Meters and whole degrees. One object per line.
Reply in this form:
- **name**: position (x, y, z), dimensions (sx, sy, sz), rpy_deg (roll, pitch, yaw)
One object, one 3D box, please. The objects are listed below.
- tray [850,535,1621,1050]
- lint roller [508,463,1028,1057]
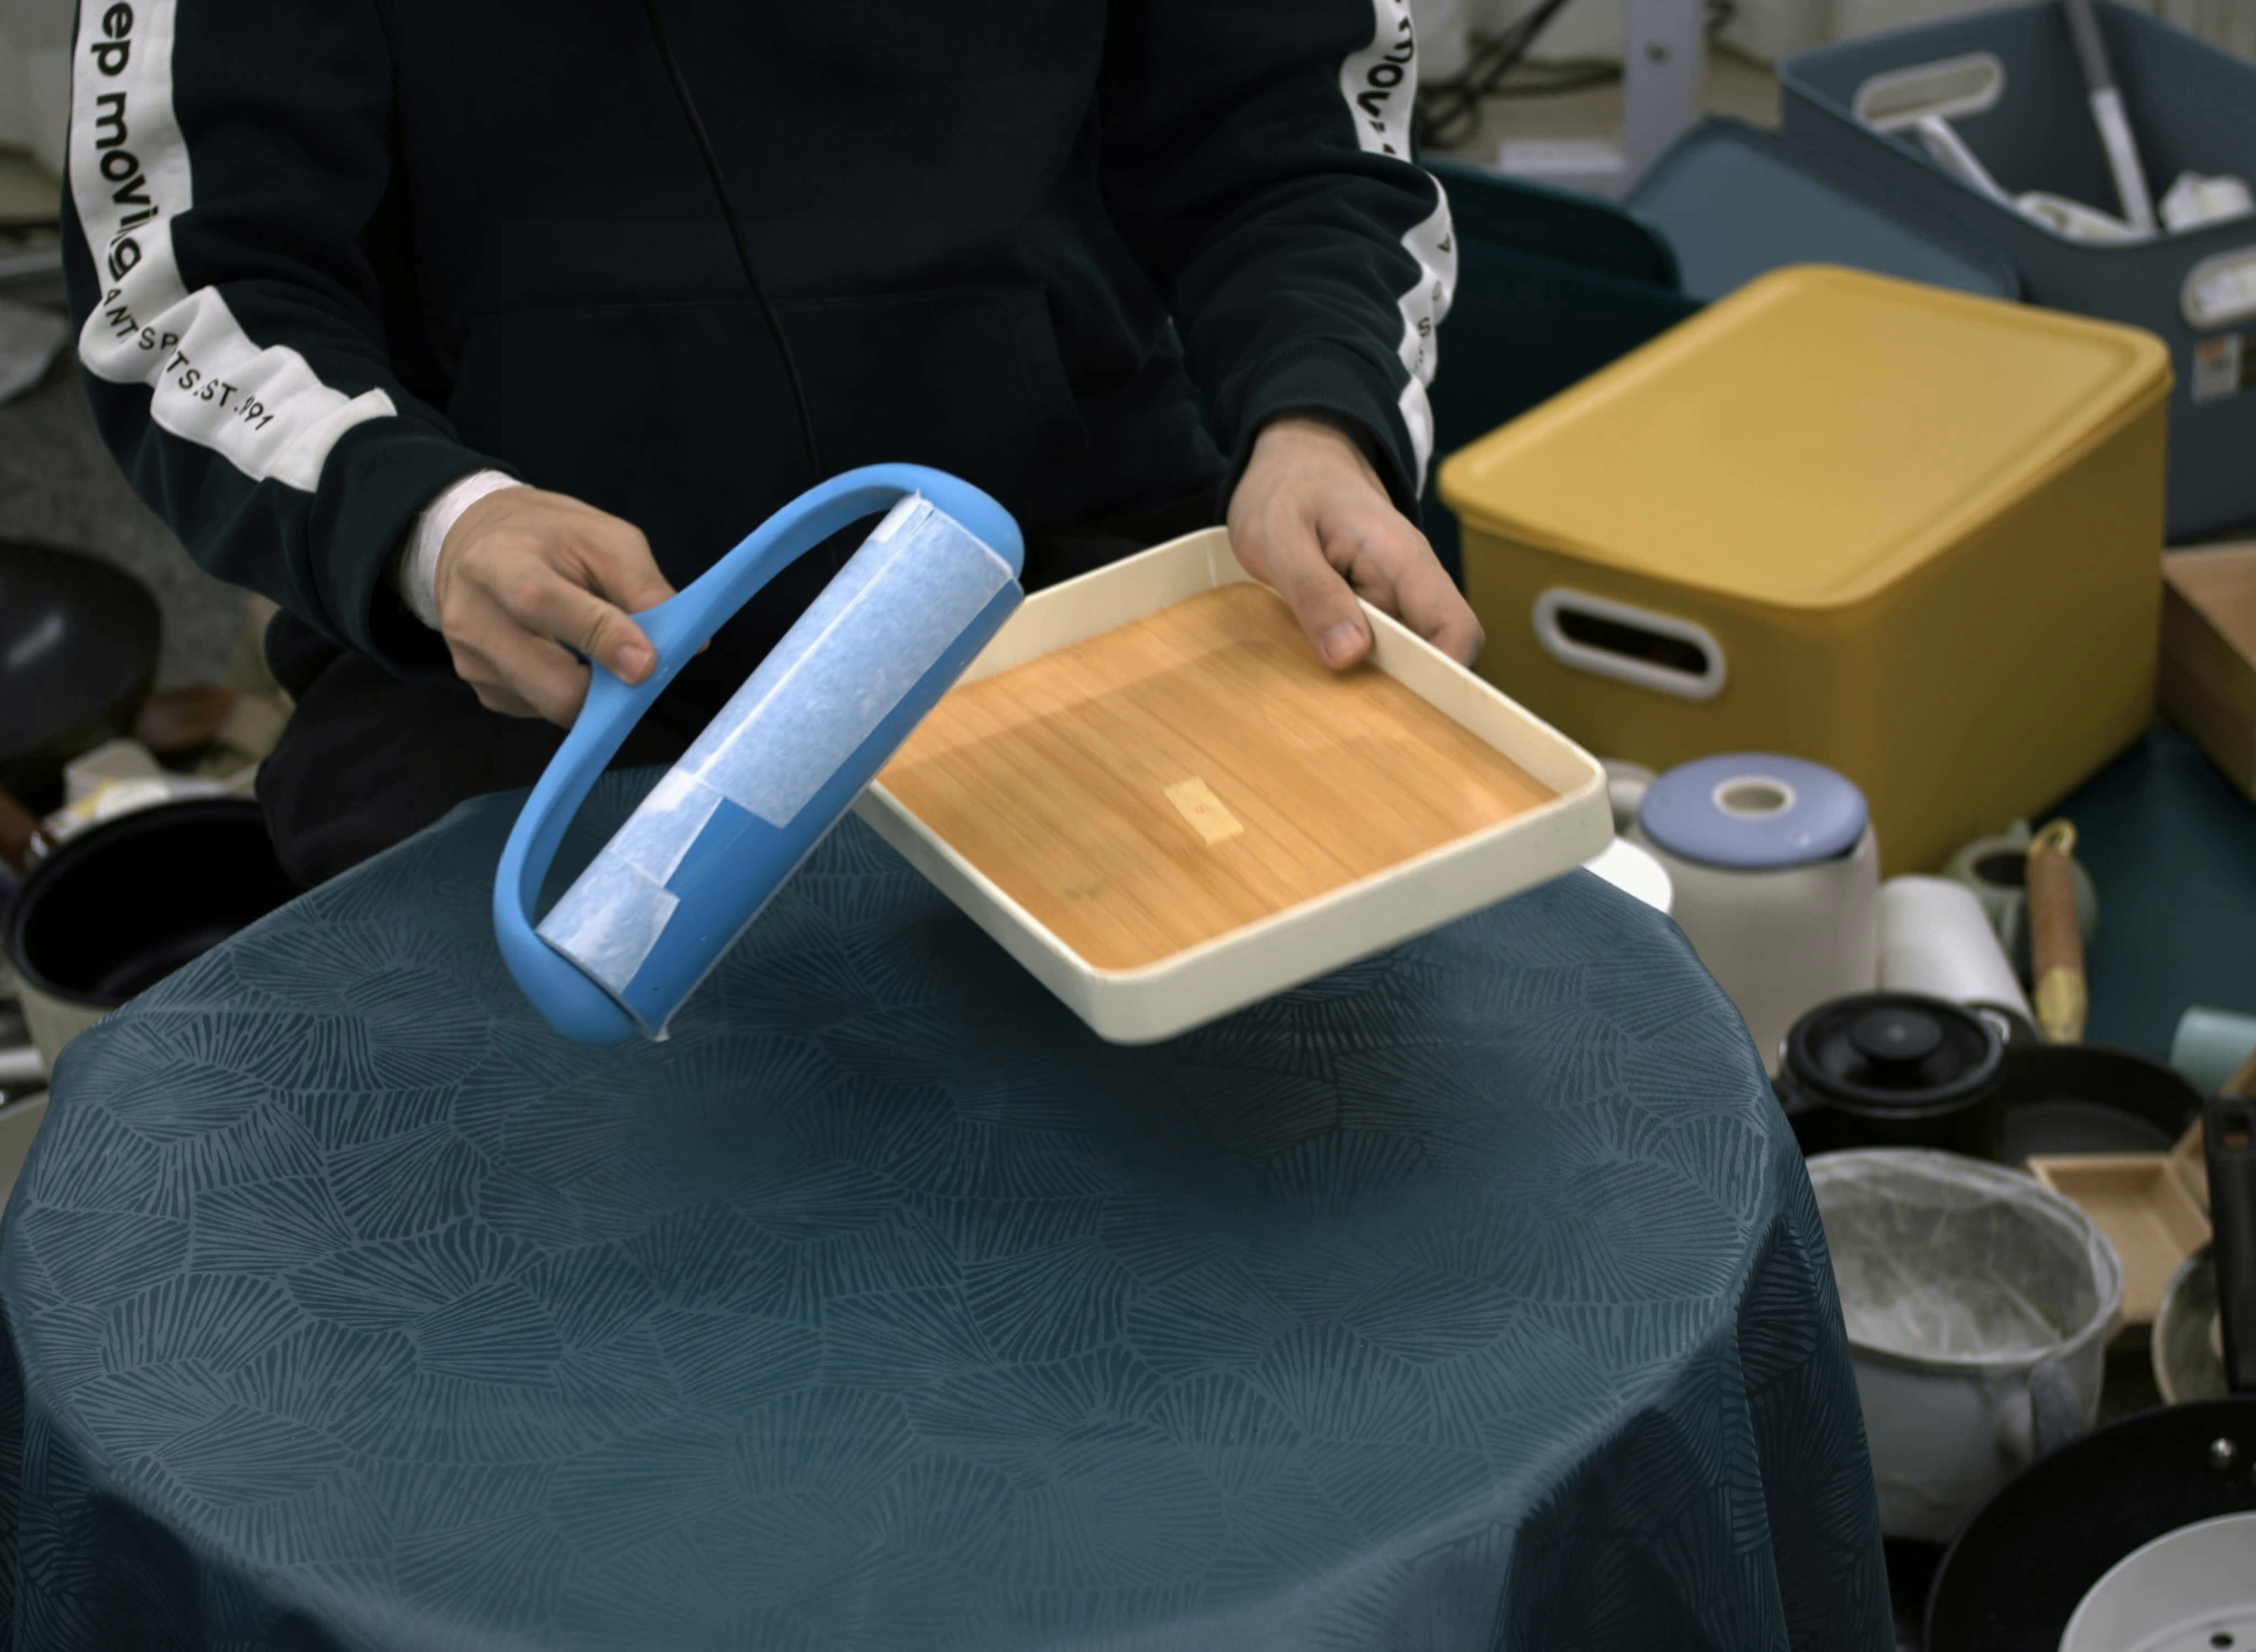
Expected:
- **tray**: position (0.021, -0.017, 1.917), dimensions (0.192, 0.027, 0.302), rpy_deg (-21, 27, -17)
- **lint roller**: position (-0.152, -0.038, 1.888), dimensions (0.180, 0.067, 0.231), rpy_deg (24, 72, 41)
